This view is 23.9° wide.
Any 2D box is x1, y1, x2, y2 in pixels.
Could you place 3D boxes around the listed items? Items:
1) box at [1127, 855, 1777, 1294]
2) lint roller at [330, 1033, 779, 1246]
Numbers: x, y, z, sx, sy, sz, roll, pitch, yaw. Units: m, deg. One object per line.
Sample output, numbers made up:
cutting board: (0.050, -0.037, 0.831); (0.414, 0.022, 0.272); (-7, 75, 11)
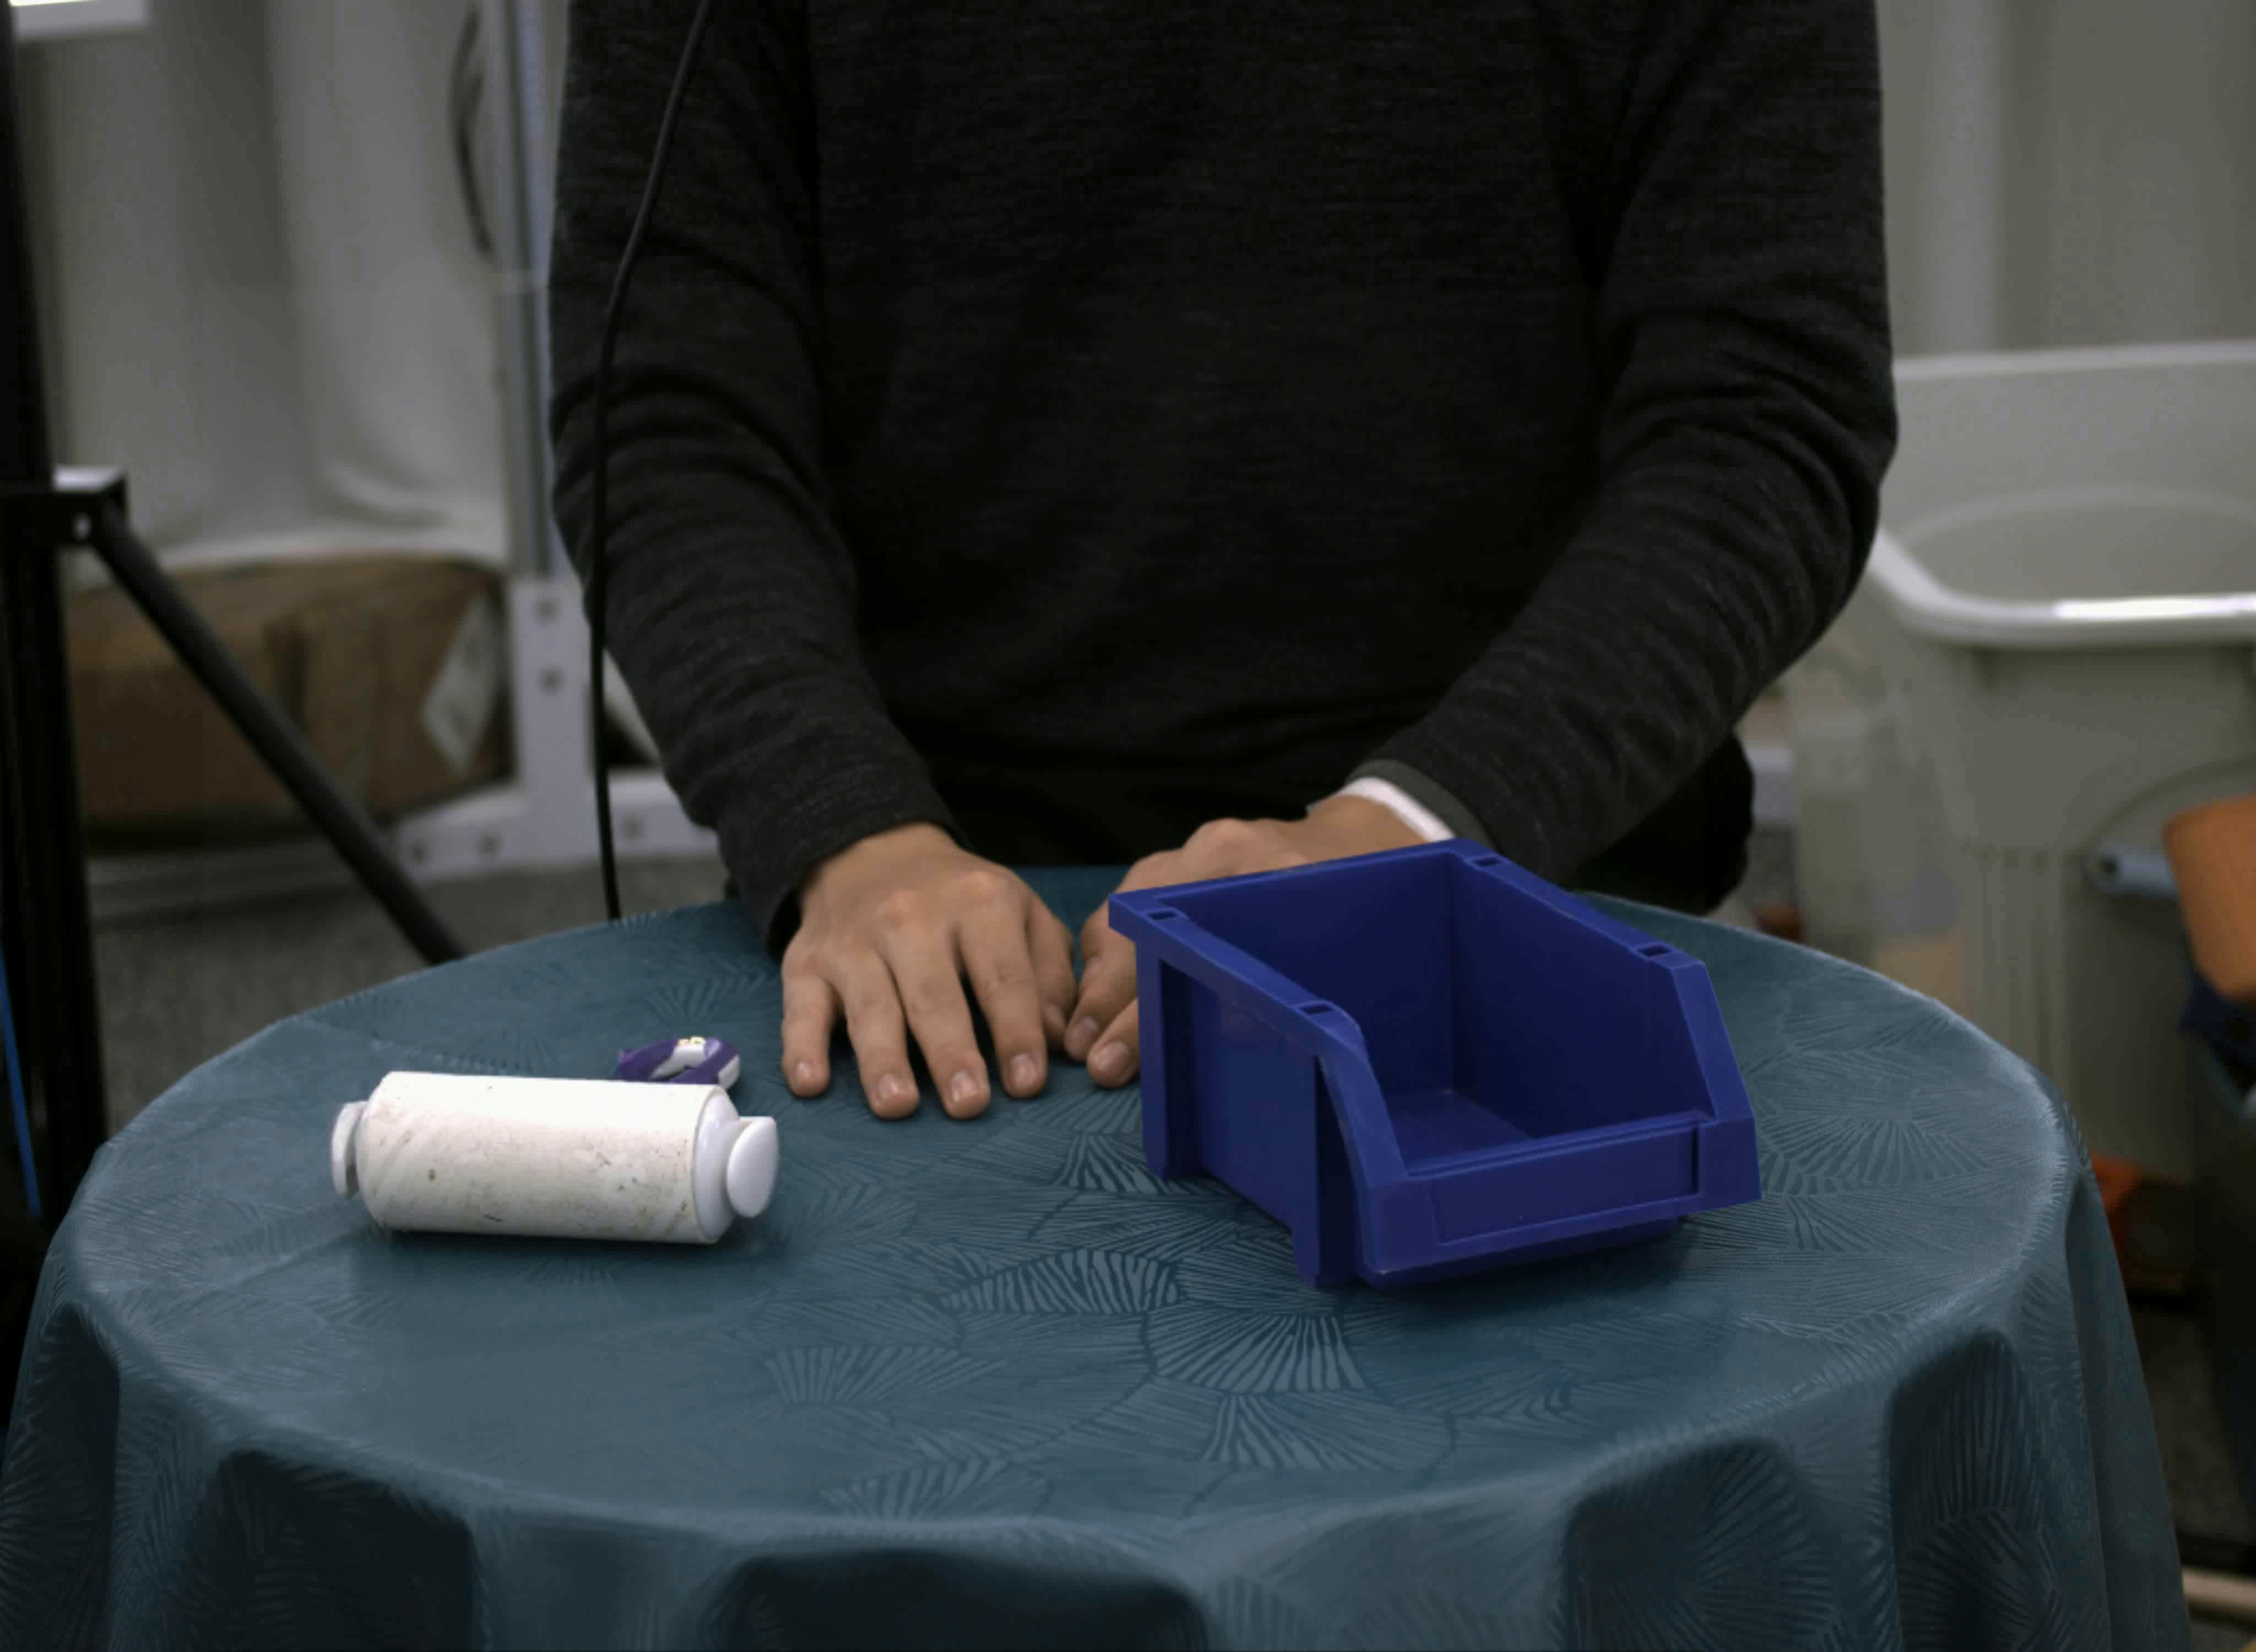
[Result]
box: (0.092, 0.073, 1.518); (0.122, 0.082, 0.182); (-8, 14, -20)
lint roller: (-0.151, 0.078, 1.602); (0.134, 0.050, 0.179); (1, 18, 15)
